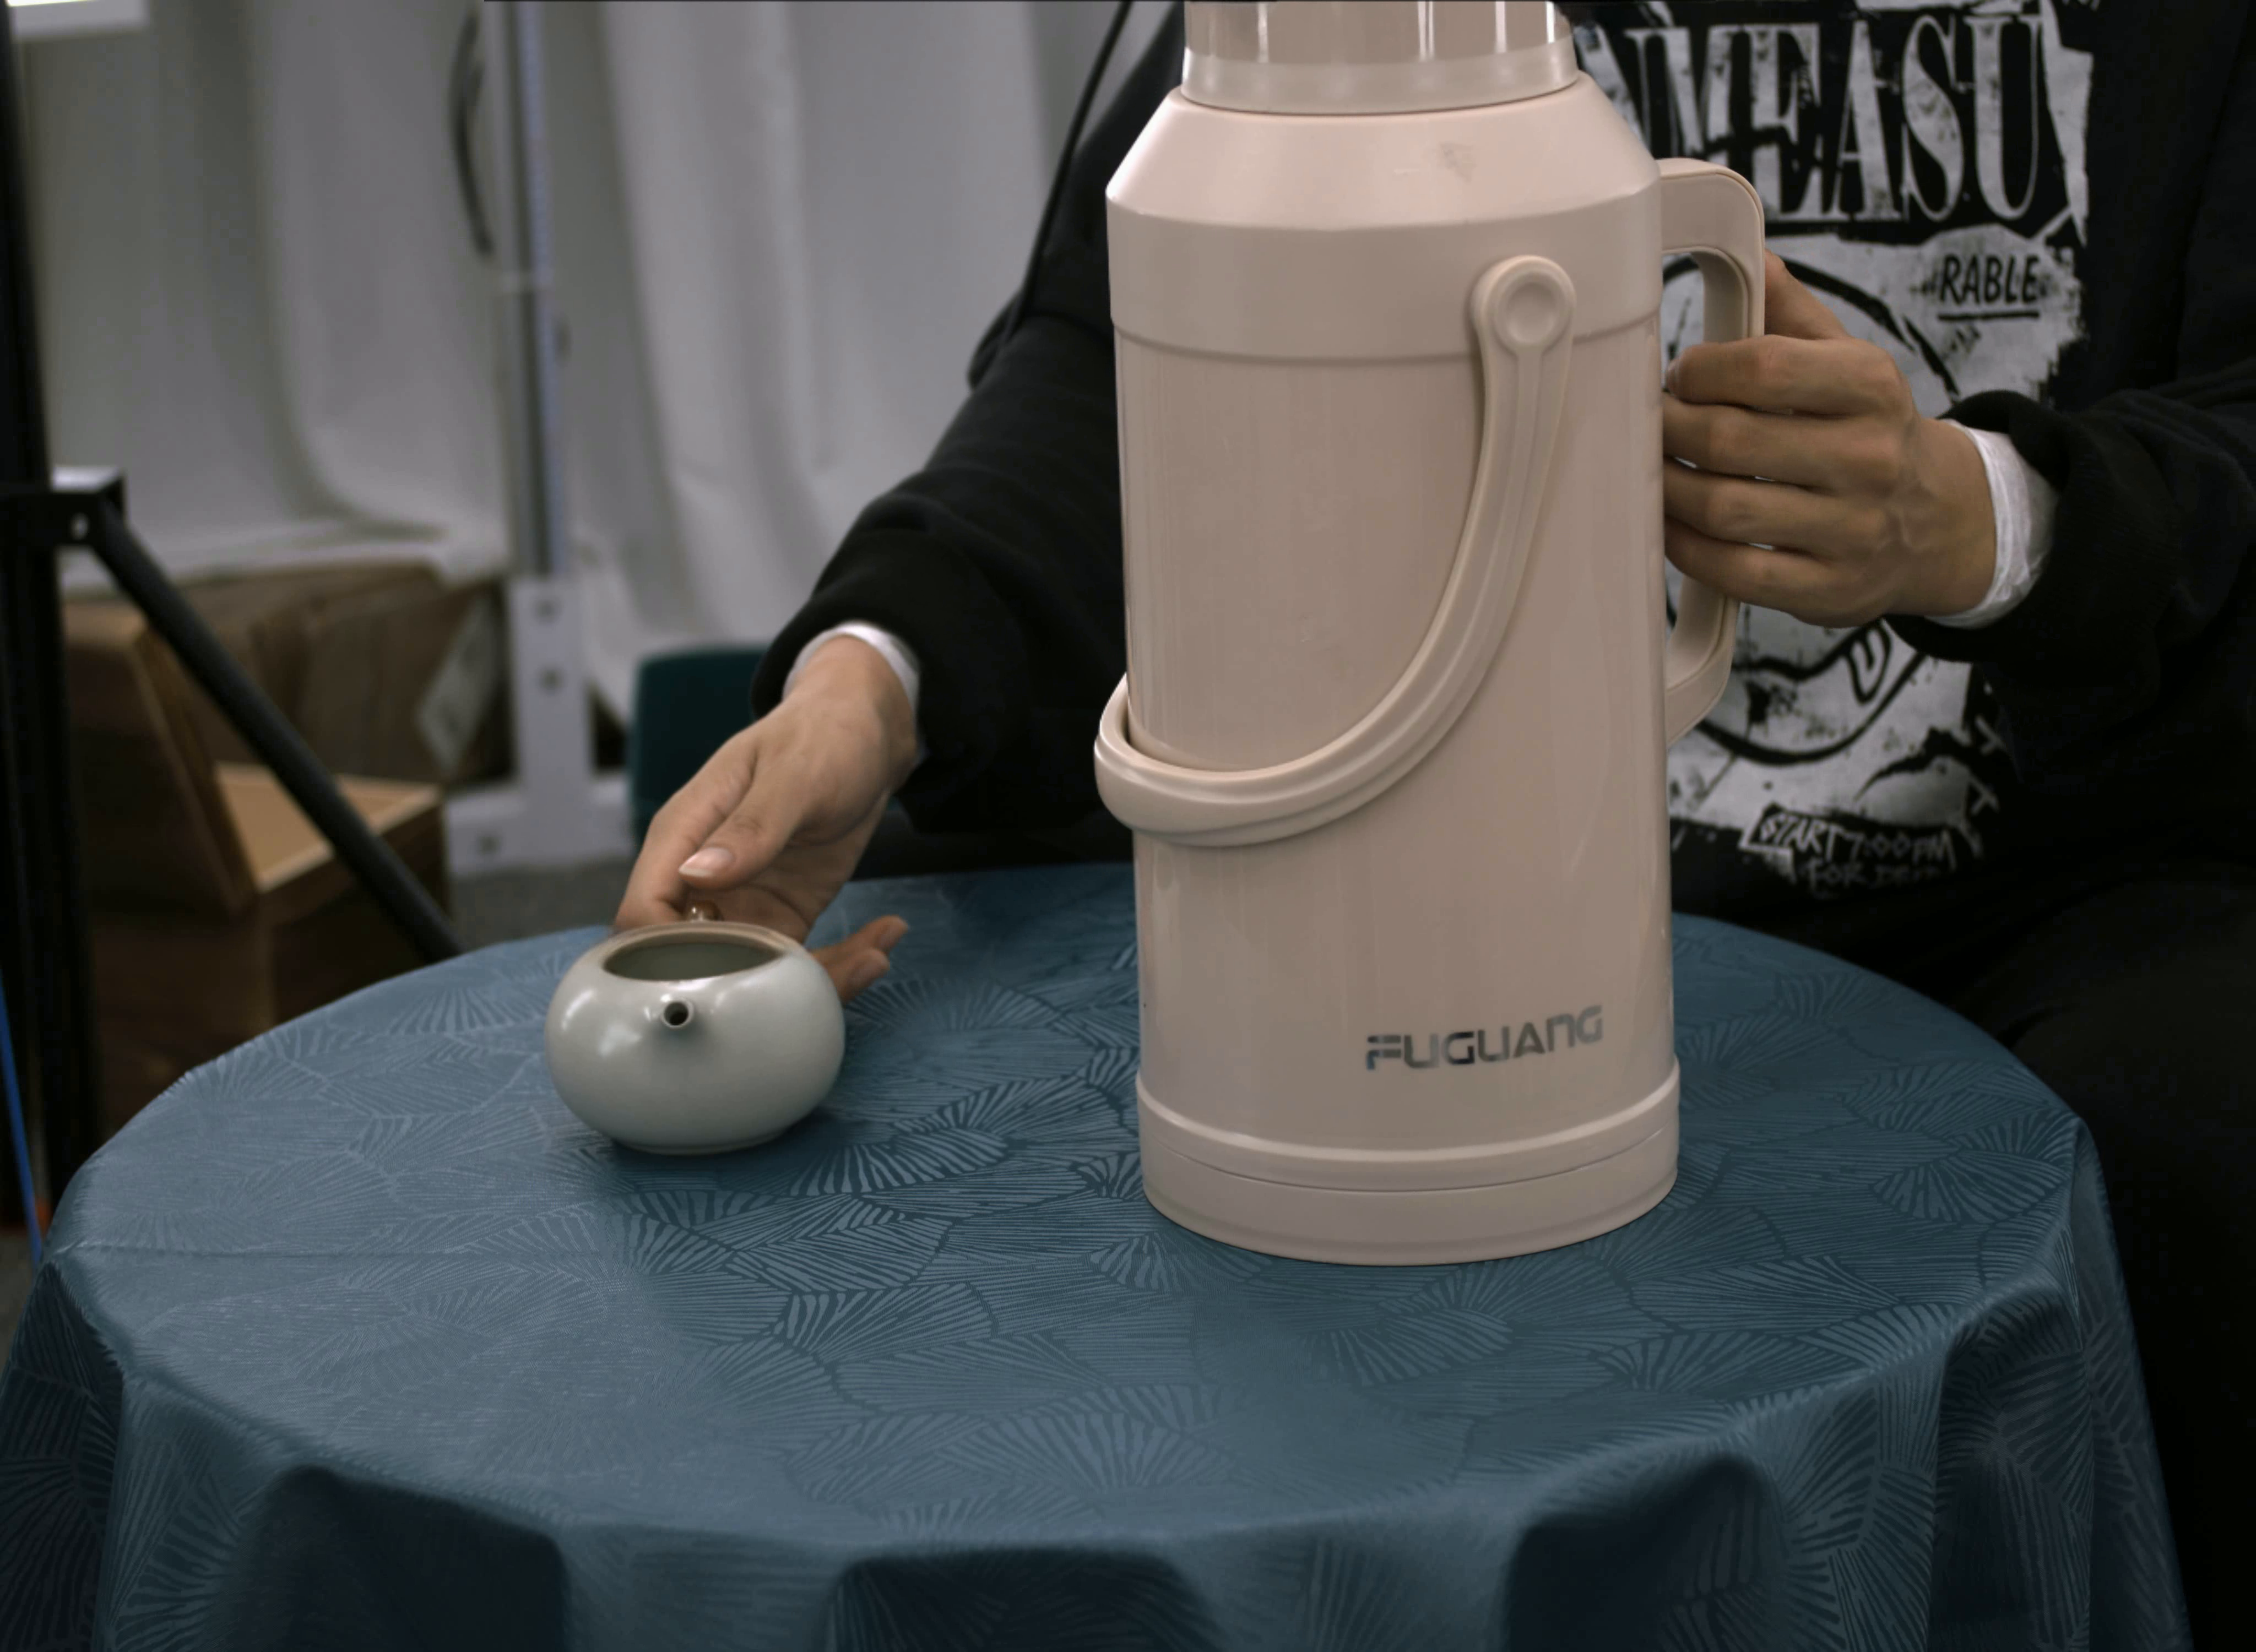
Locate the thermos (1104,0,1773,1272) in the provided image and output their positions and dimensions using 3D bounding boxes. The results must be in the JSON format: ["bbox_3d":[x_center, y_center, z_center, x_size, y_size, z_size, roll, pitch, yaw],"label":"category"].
[{"bbox_3d":[0.091,-0.089,1.512,0.203,0.406,0.179,-9,15,-22],"label":"thermos"}]

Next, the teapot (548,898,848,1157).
[{"bbox_3d":[-0.131,0.062,1.634,0.091,0.059,0.129,-5,17,0],"label":"teapot"}]
